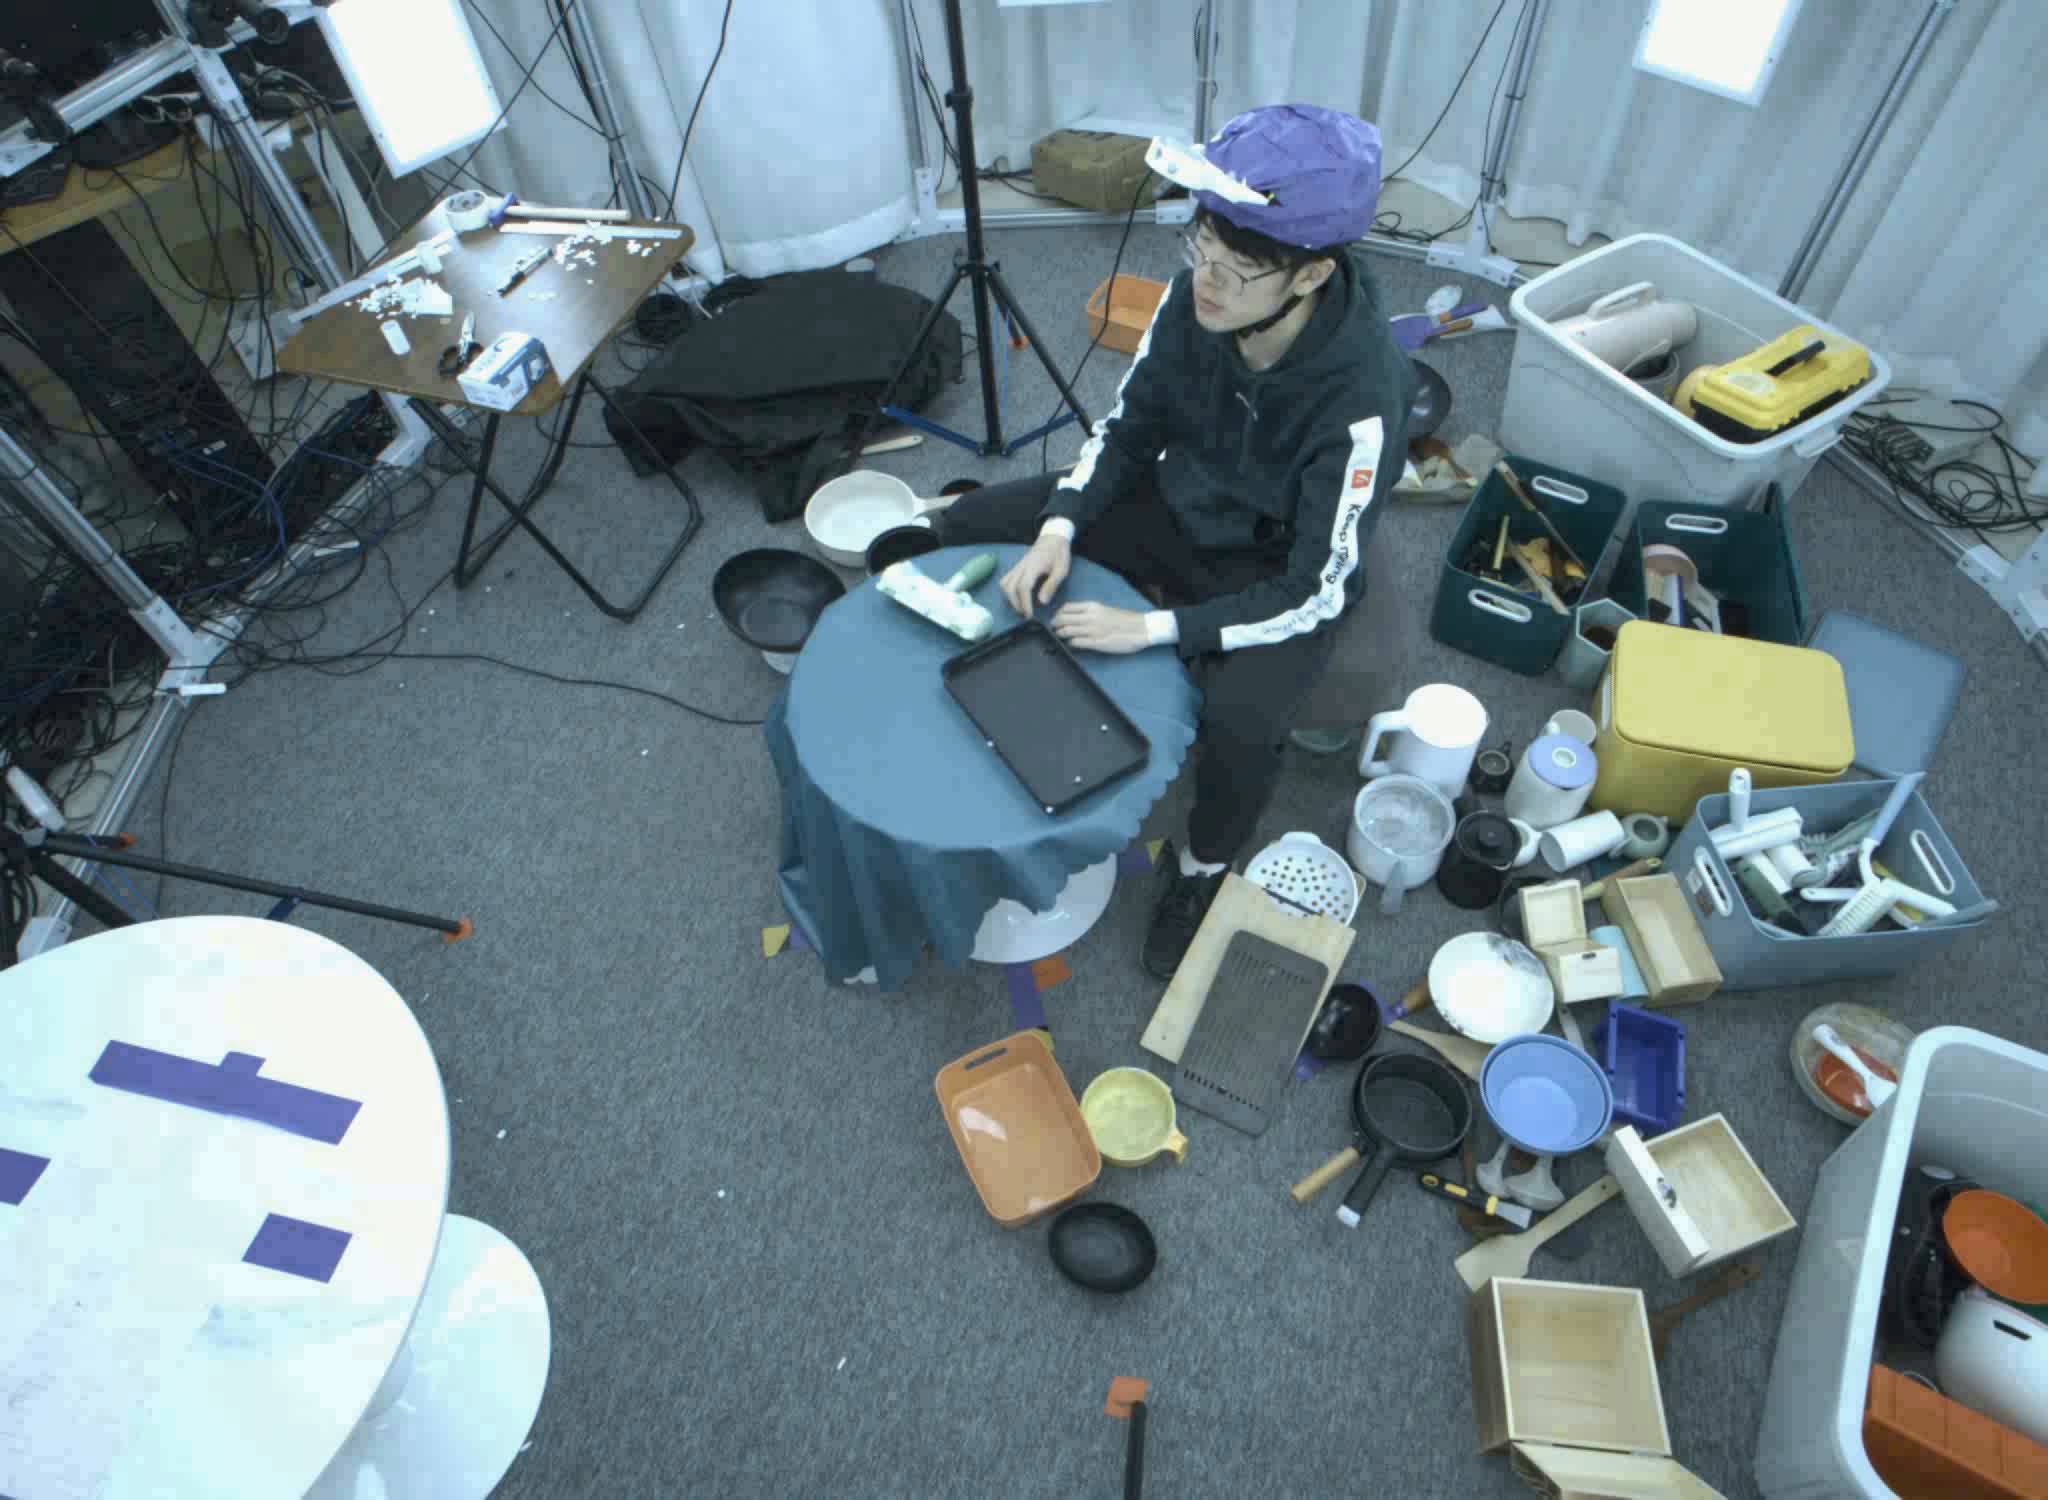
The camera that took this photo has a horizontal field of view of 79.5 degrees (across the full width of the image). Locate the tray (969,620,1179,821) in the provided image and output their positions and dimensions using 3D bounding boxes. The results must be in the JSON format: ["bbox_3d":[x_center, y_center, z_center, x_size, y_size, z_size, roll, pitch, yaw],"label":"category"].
[{"bbox_3d":[0.068,-0.049,1.793,0.186,0.037,0.312,-27,58,-16],"label":"tray"}]

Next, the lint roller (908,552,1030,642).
[{"bbox_3d":[-0.055,-0.272,1.929,0.195,0.083,0.184,33,65,23],"label":"lint roller"}]
